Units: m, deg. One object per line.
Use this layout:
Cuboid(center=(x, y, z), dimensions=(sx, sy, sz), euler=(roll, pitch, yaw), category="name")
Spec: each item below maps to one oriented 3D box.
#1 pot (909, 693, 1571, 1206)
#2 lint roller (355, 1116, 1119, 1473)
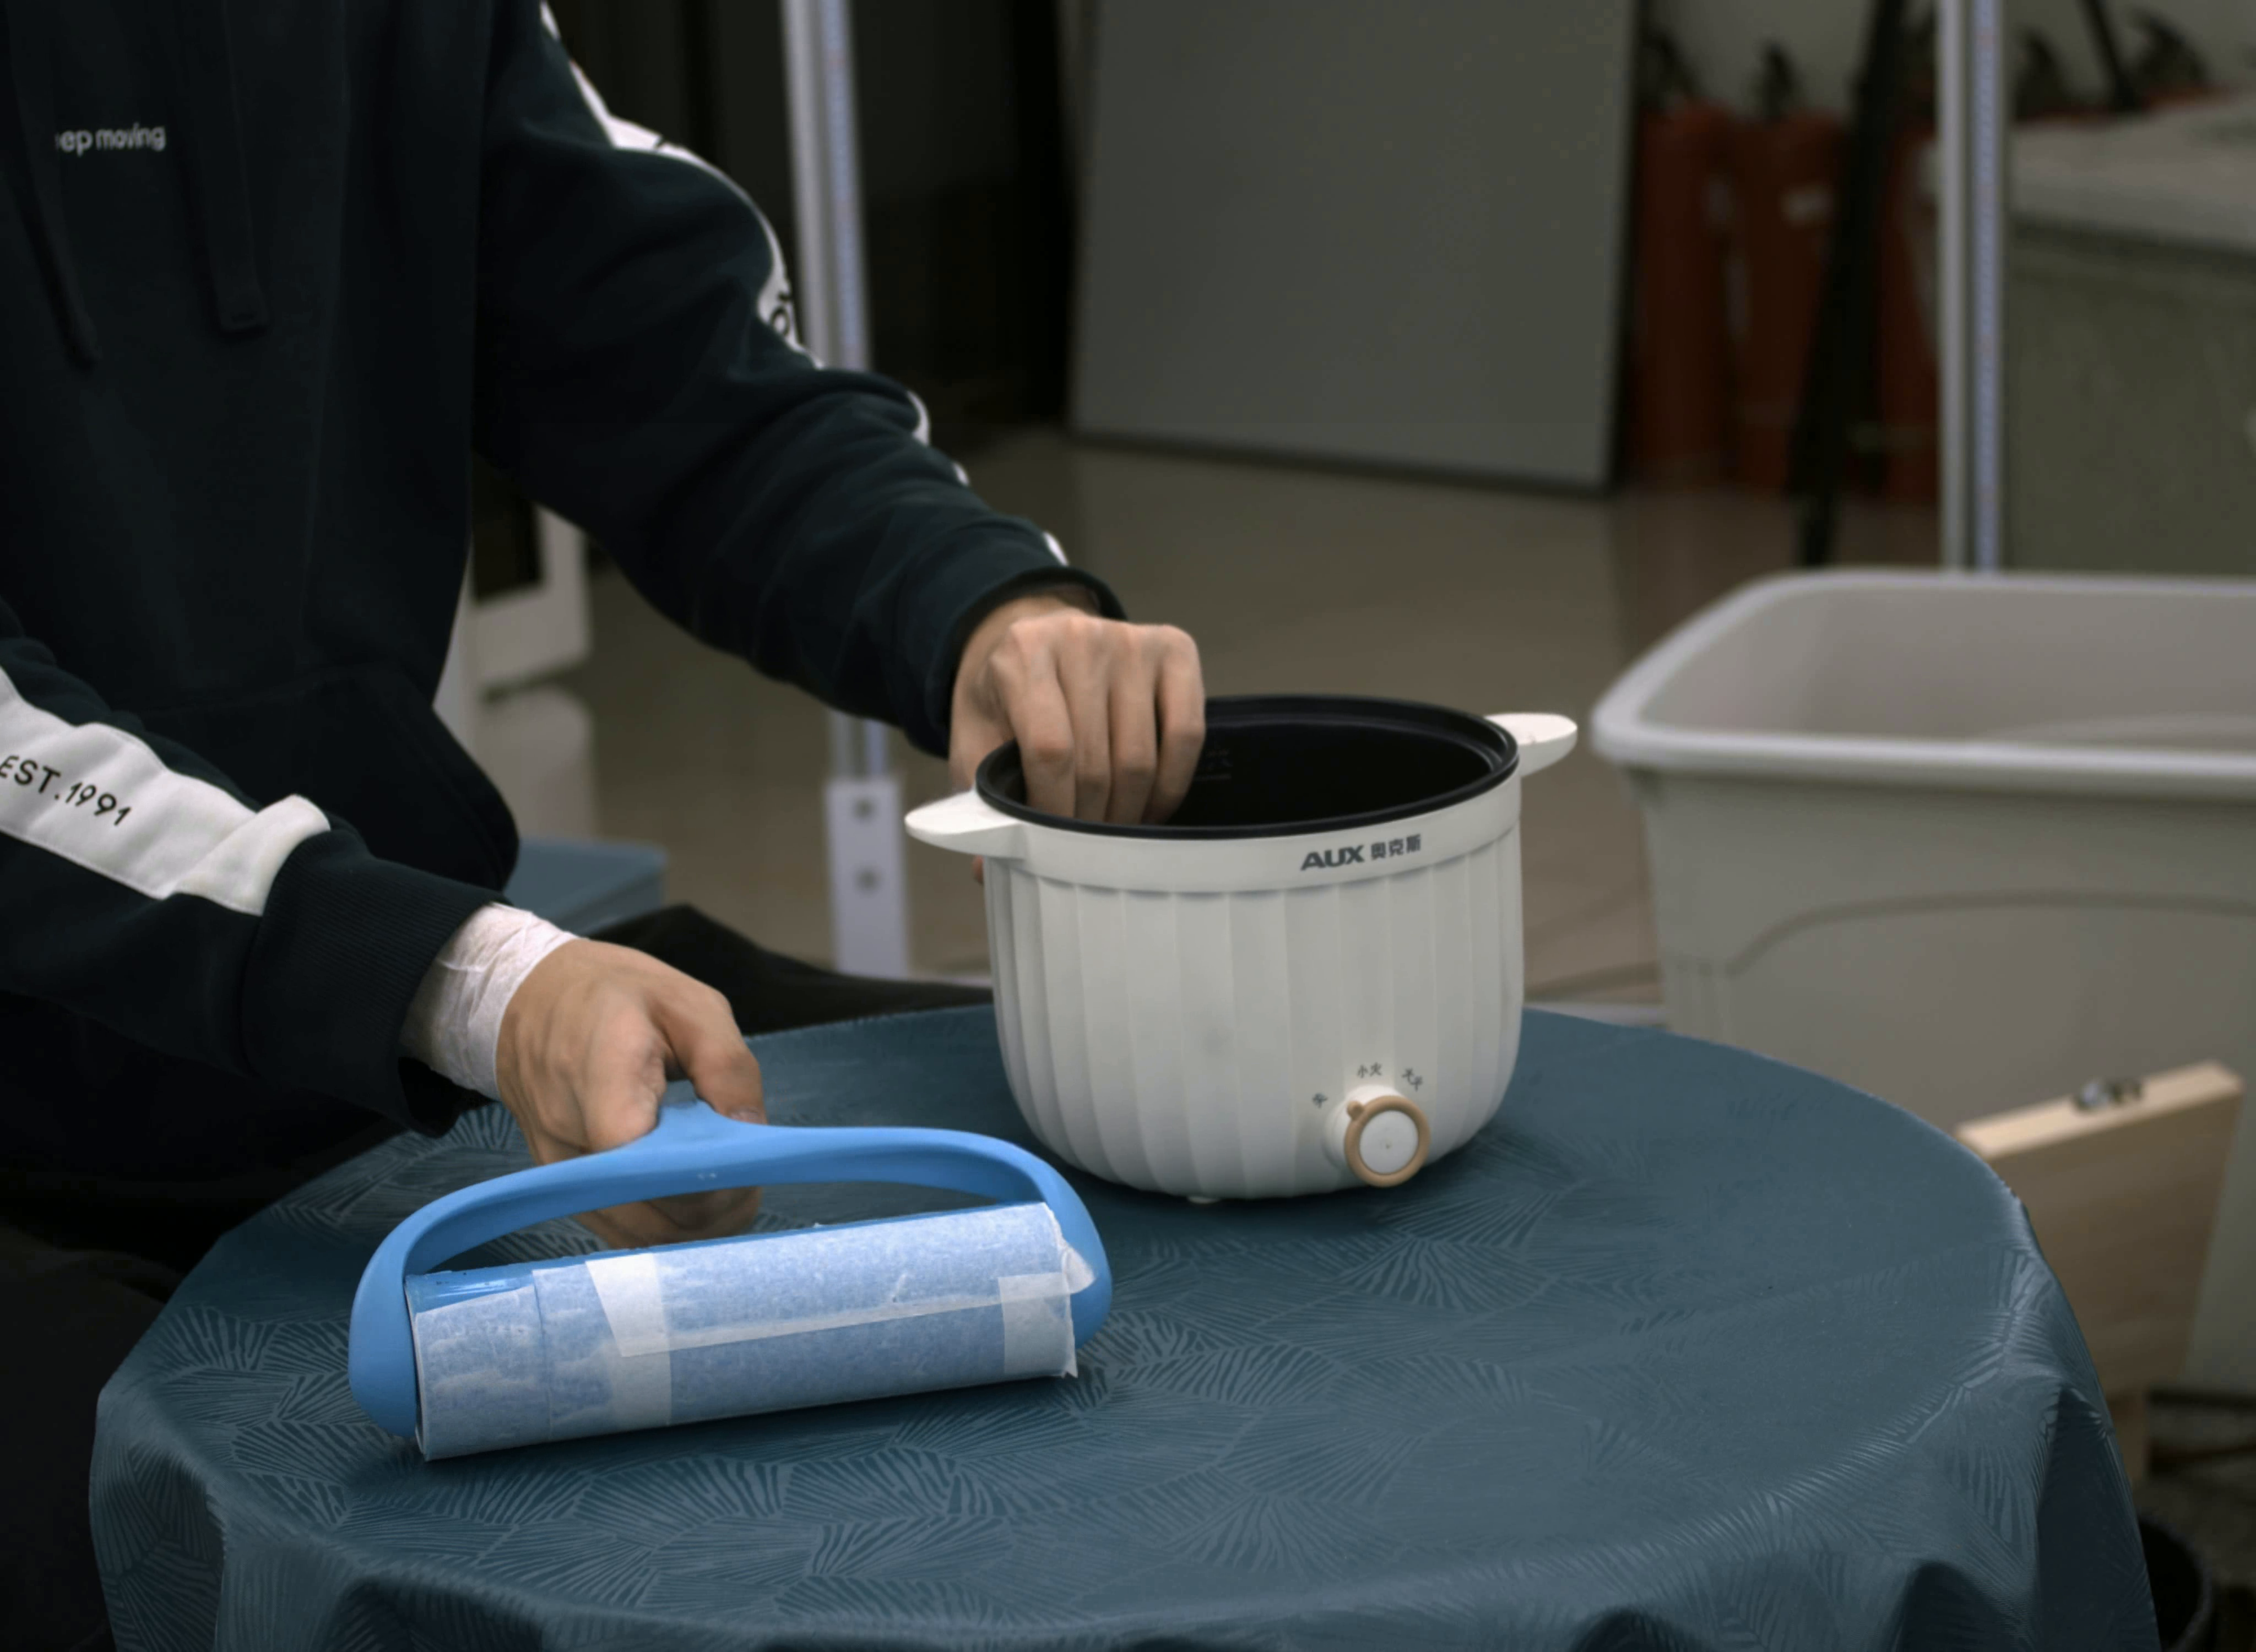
Cuboid(center=(0.047, 0.042, 1.786), dimensions=(0.235, 0.144, 0.192), euler=(-11, 12, -21), category="pot")
Cuboid(center=(-0.129, 0.123, 1.635), dimensions=(0.225, 0.068, 0.182), euler=(-9, 27, -12), category="lint roller")
